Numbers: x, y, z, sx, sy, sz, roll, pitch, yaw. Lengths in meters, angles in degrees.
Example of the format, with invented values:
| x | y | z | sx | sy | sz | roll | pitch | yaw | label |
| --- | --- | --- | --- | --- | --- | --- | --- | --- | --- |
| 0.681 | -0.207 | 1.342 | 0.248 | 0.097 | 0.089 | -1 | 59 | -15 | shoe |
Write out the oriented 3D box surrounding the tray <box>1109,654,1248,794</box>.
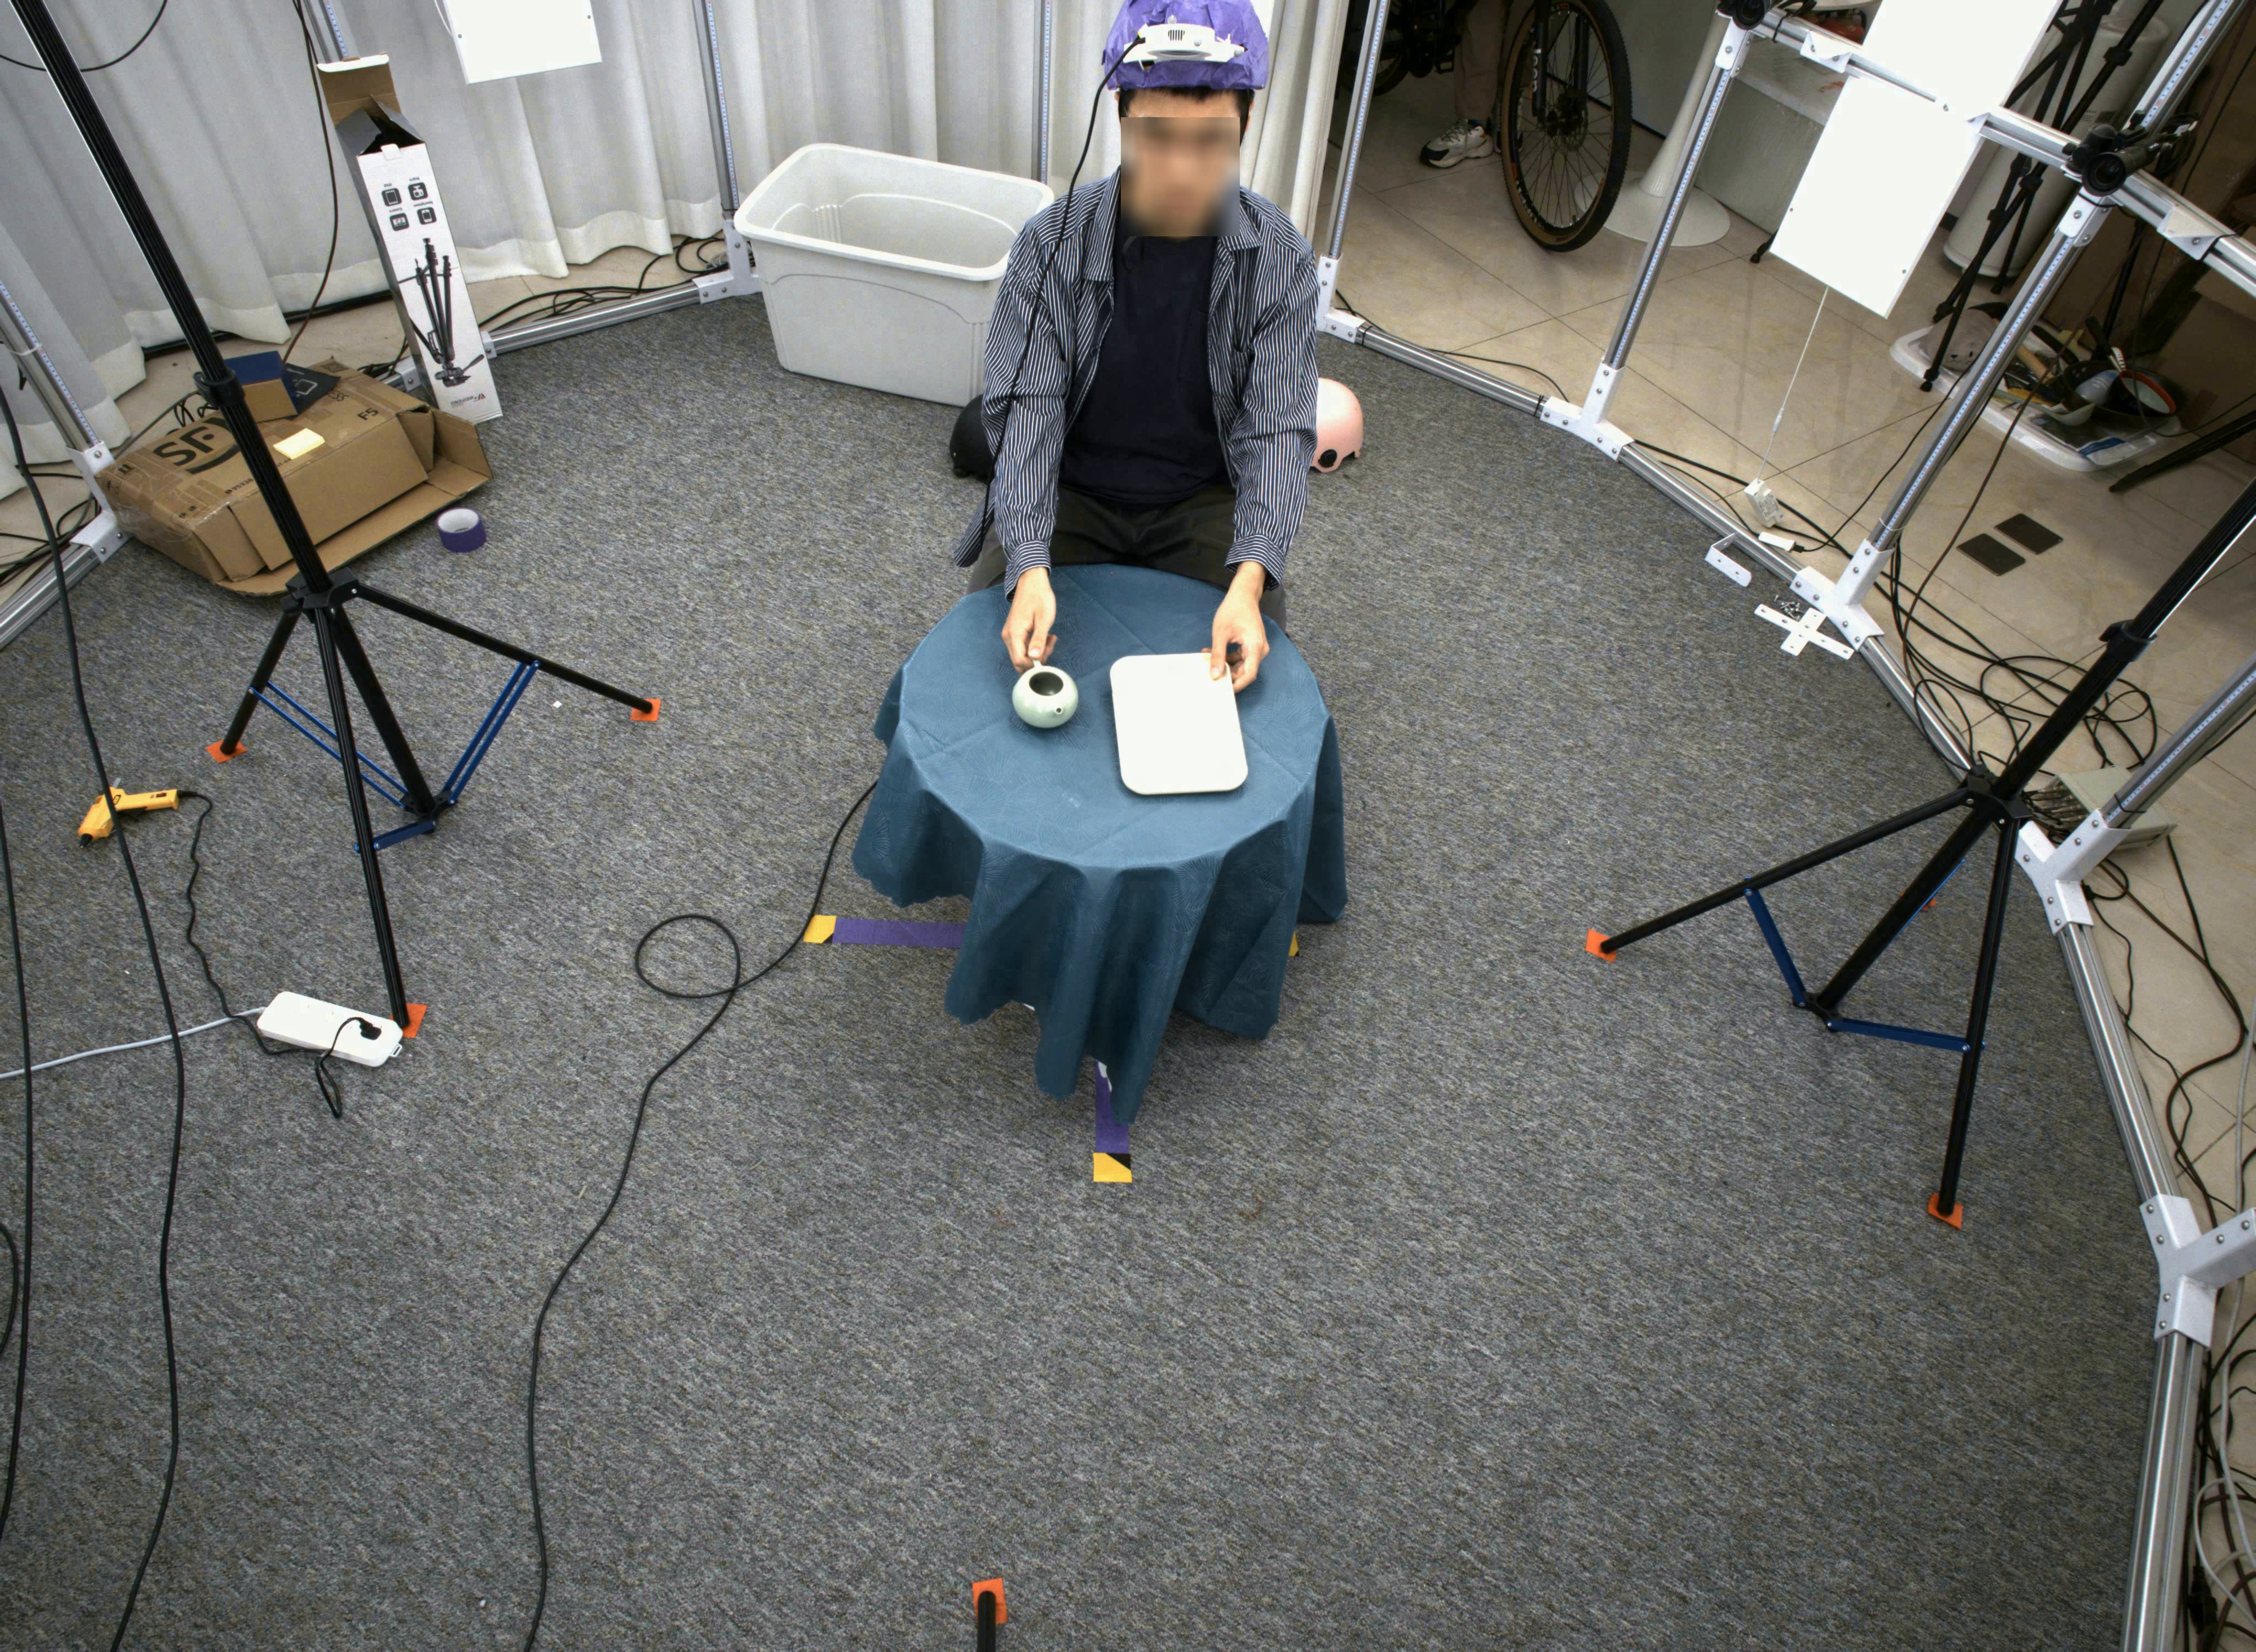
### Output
| x | y | z | sx | sy | sz | roll | pitch | yaw | label |
| --- | --- | --- | --- | --- | --- | --- | --- | --- | --- |
| 0.067 | -0.142 | 1.762 | 0.171 | 0.017 | 0.245 | -2 | 54 | -6 | tray |

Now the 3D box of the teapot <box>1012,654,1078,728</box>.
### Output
| x | y | z | sx | sy | sz | roll | pitch | yaw | label |
| --- | --- | --- | --- | --- | --- | --- | --- | --- | --- |
| -0.117 | -0.184 | 1.769 | 0.091 | 0.059 | 0.131 | -10 | 52 | -13 | teapot |
